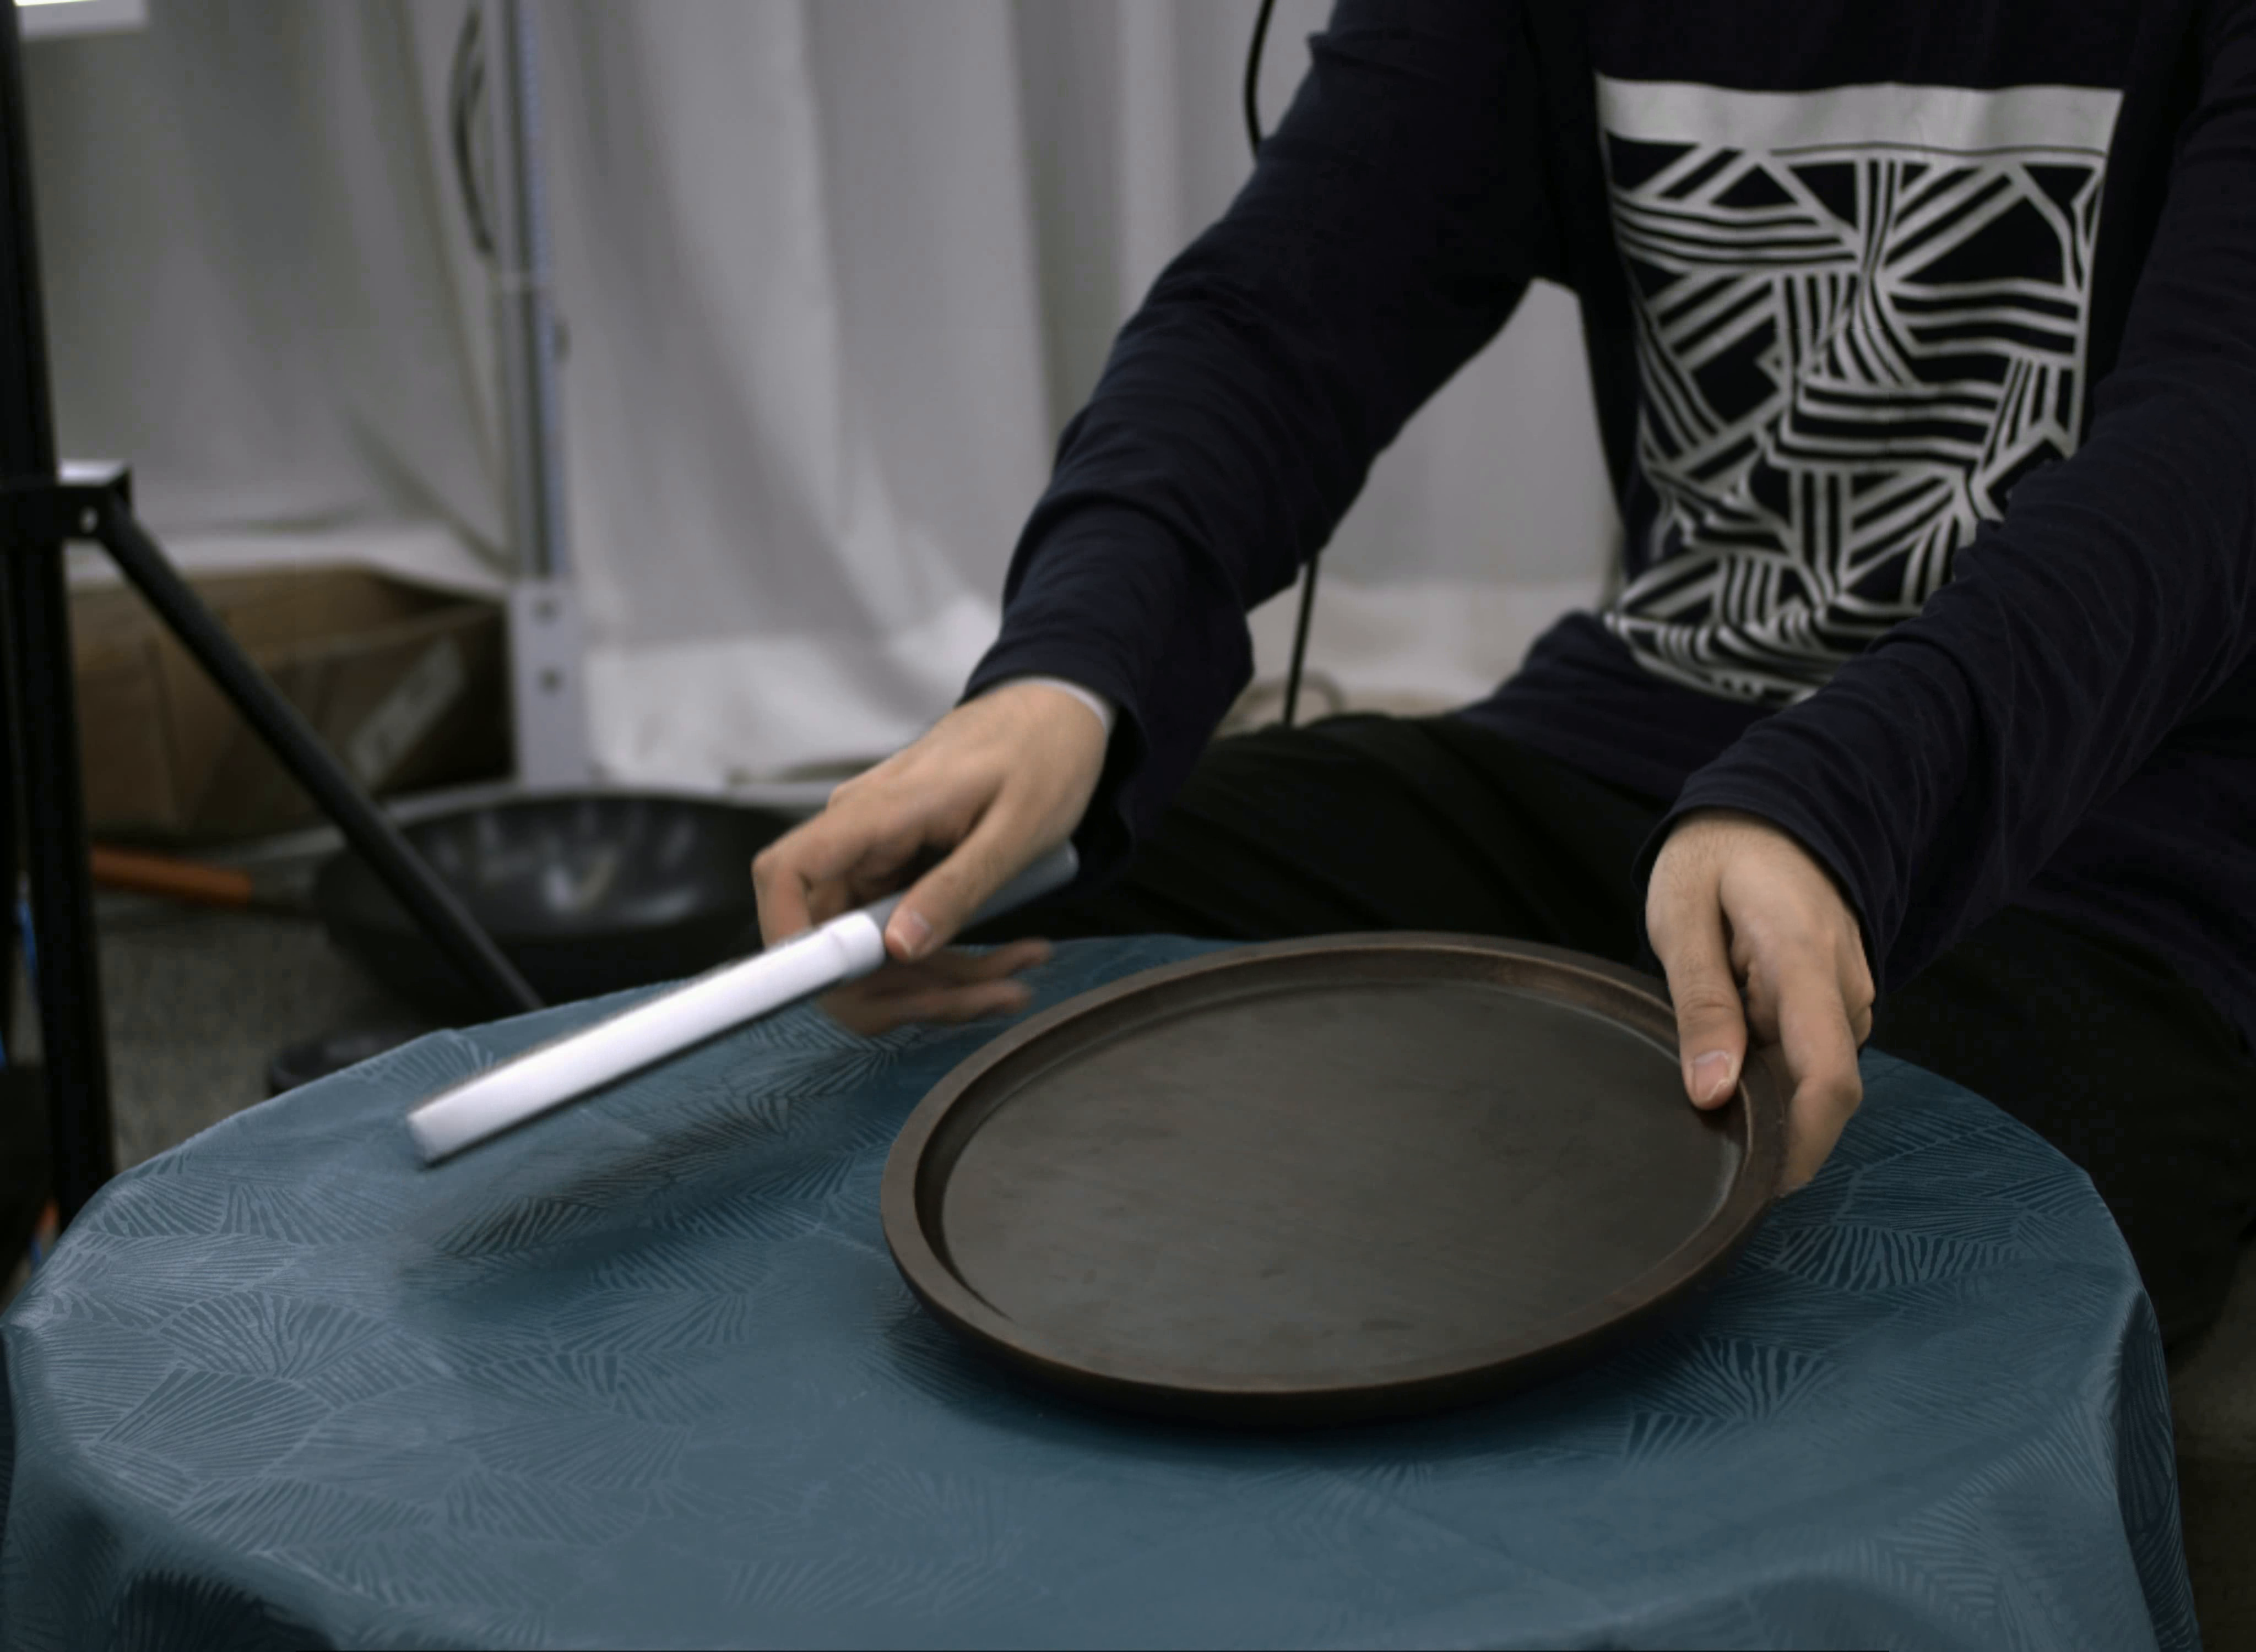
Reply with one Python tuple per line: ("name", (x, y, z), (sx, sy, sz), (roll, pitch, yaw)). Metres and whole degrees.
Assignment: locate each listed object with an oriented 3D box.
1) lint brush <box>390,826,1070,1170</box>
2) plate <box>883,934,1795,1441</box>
("lint brush", (-0.112, 0.048, 1.631), (0.061, 0.021, 0.303), (-32, -5, 40))
("plate", (0.058, 0.097, 1.471), (0.254, 0.029, 0.257), (-6, 27, 1))
